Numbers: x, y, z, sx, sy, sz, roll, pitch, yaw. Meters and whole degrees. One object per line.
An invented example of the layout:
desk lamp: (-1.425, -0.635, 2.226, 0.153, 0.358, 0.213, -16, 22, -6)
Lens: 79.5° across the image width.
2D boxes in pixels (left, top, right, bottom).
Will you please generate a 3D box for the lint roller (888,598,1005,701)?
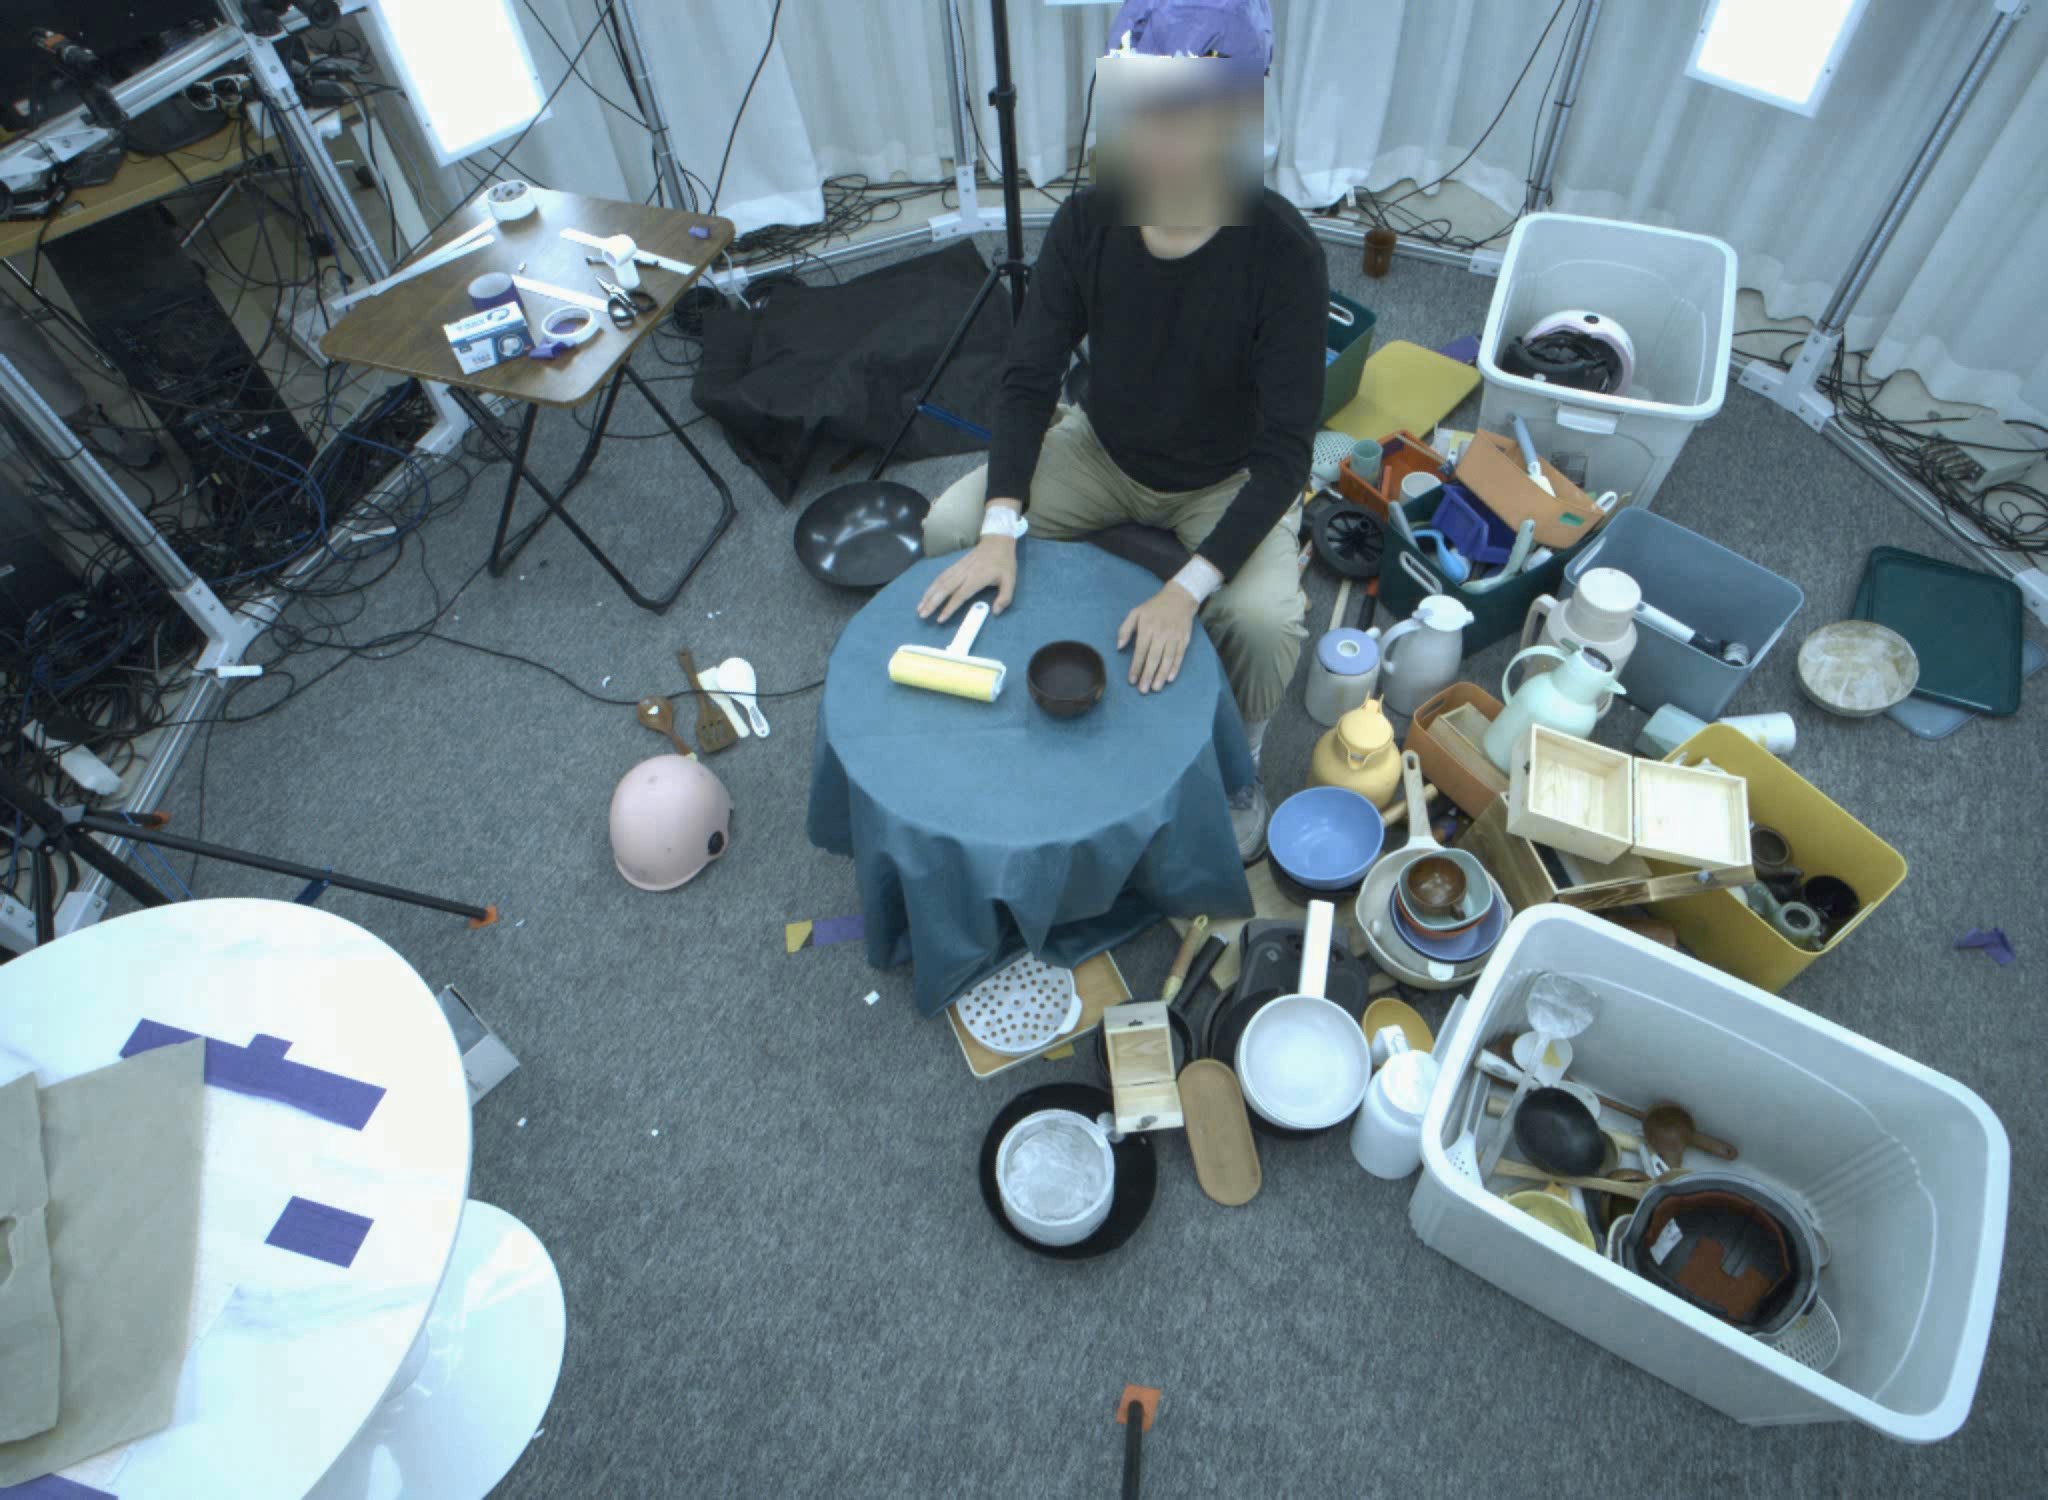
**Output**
lint roller: (-0.101, -0.169, 1.878, 0.173, 0.052, 0.191, 11, 61, 10)

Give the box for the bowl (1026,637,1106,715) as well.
bowl: (0.062, -0.101, 1.811, 0.118, 0.070, 0.117, -1, 56, 2)
